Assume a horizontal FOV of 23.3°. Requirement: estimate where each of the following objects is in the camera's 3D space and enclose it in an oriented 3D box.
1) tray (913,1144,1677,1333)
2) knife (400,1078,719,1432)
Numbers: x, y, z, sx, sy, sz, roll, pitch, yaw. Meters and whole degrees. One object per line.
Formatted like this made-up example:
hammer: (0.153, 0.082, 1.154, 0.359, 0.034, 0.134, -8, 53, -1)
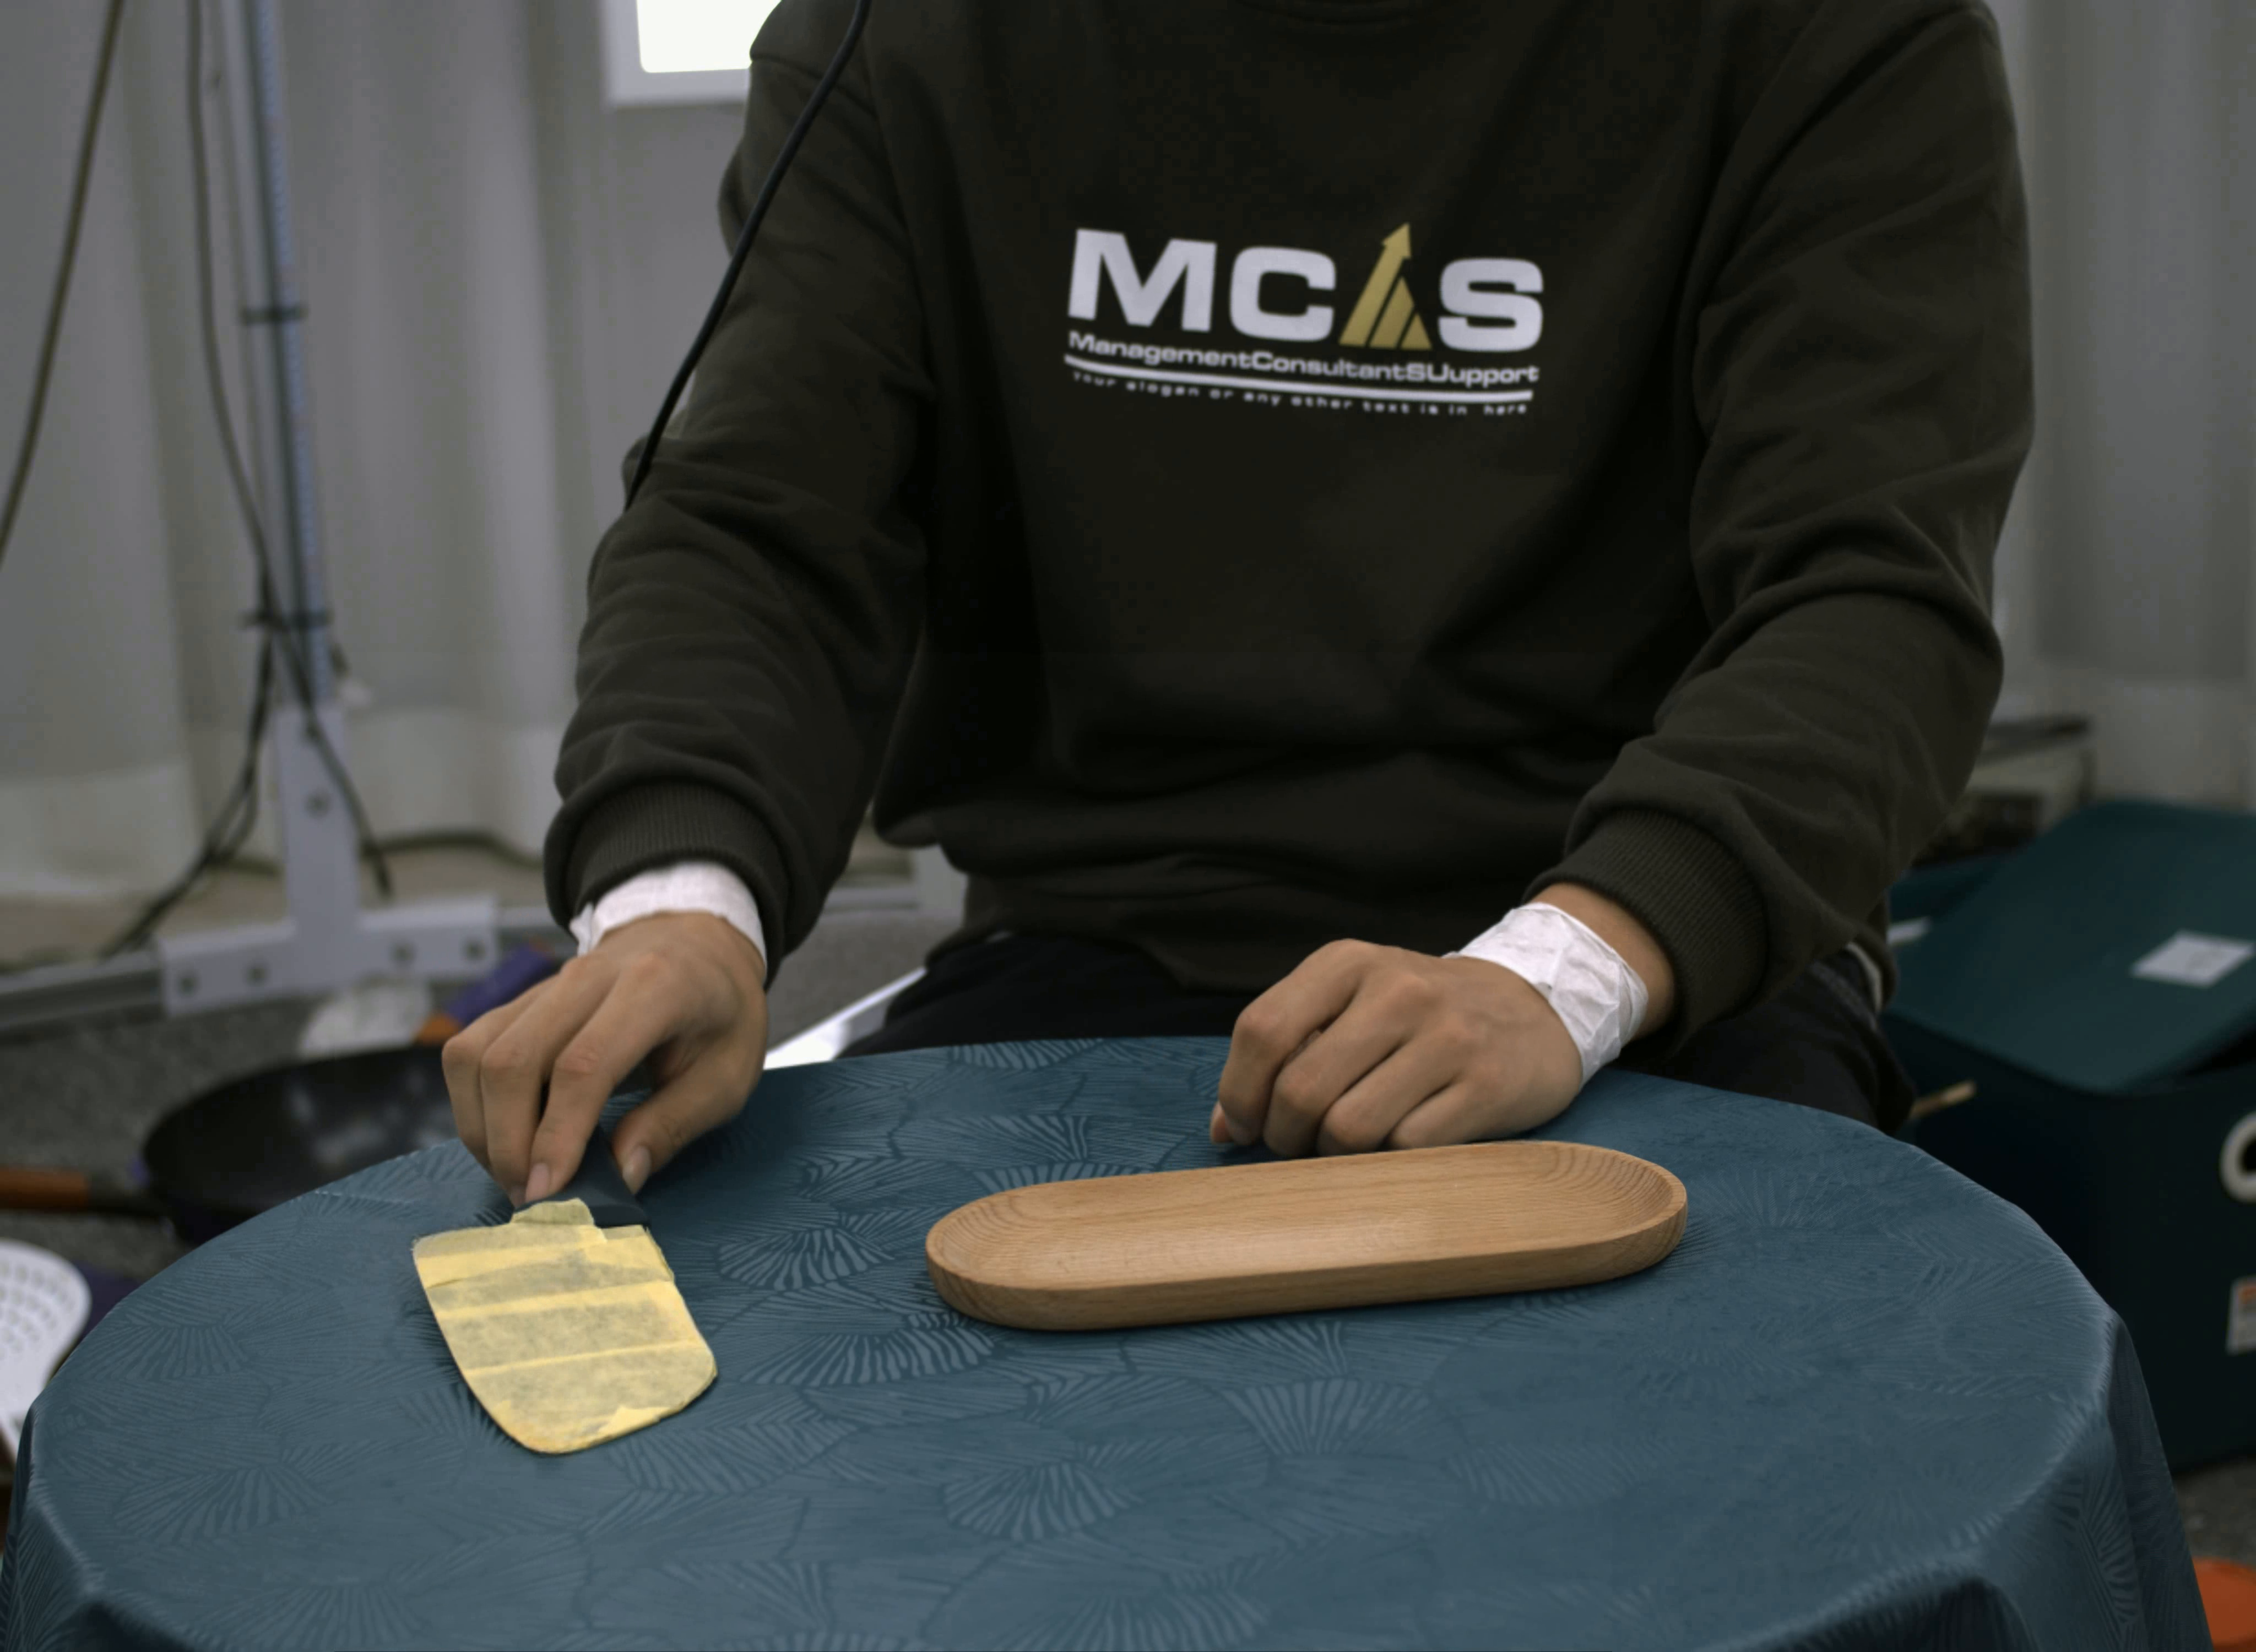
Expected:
tray: (0.051, 0.124, 1.641, 0.230, 0.020, 0.102, -6, 14, -7)
knife: (-0.179, 0.130, 1.658, 0.080, 0.027, 0.292, -1, 16, -13)
